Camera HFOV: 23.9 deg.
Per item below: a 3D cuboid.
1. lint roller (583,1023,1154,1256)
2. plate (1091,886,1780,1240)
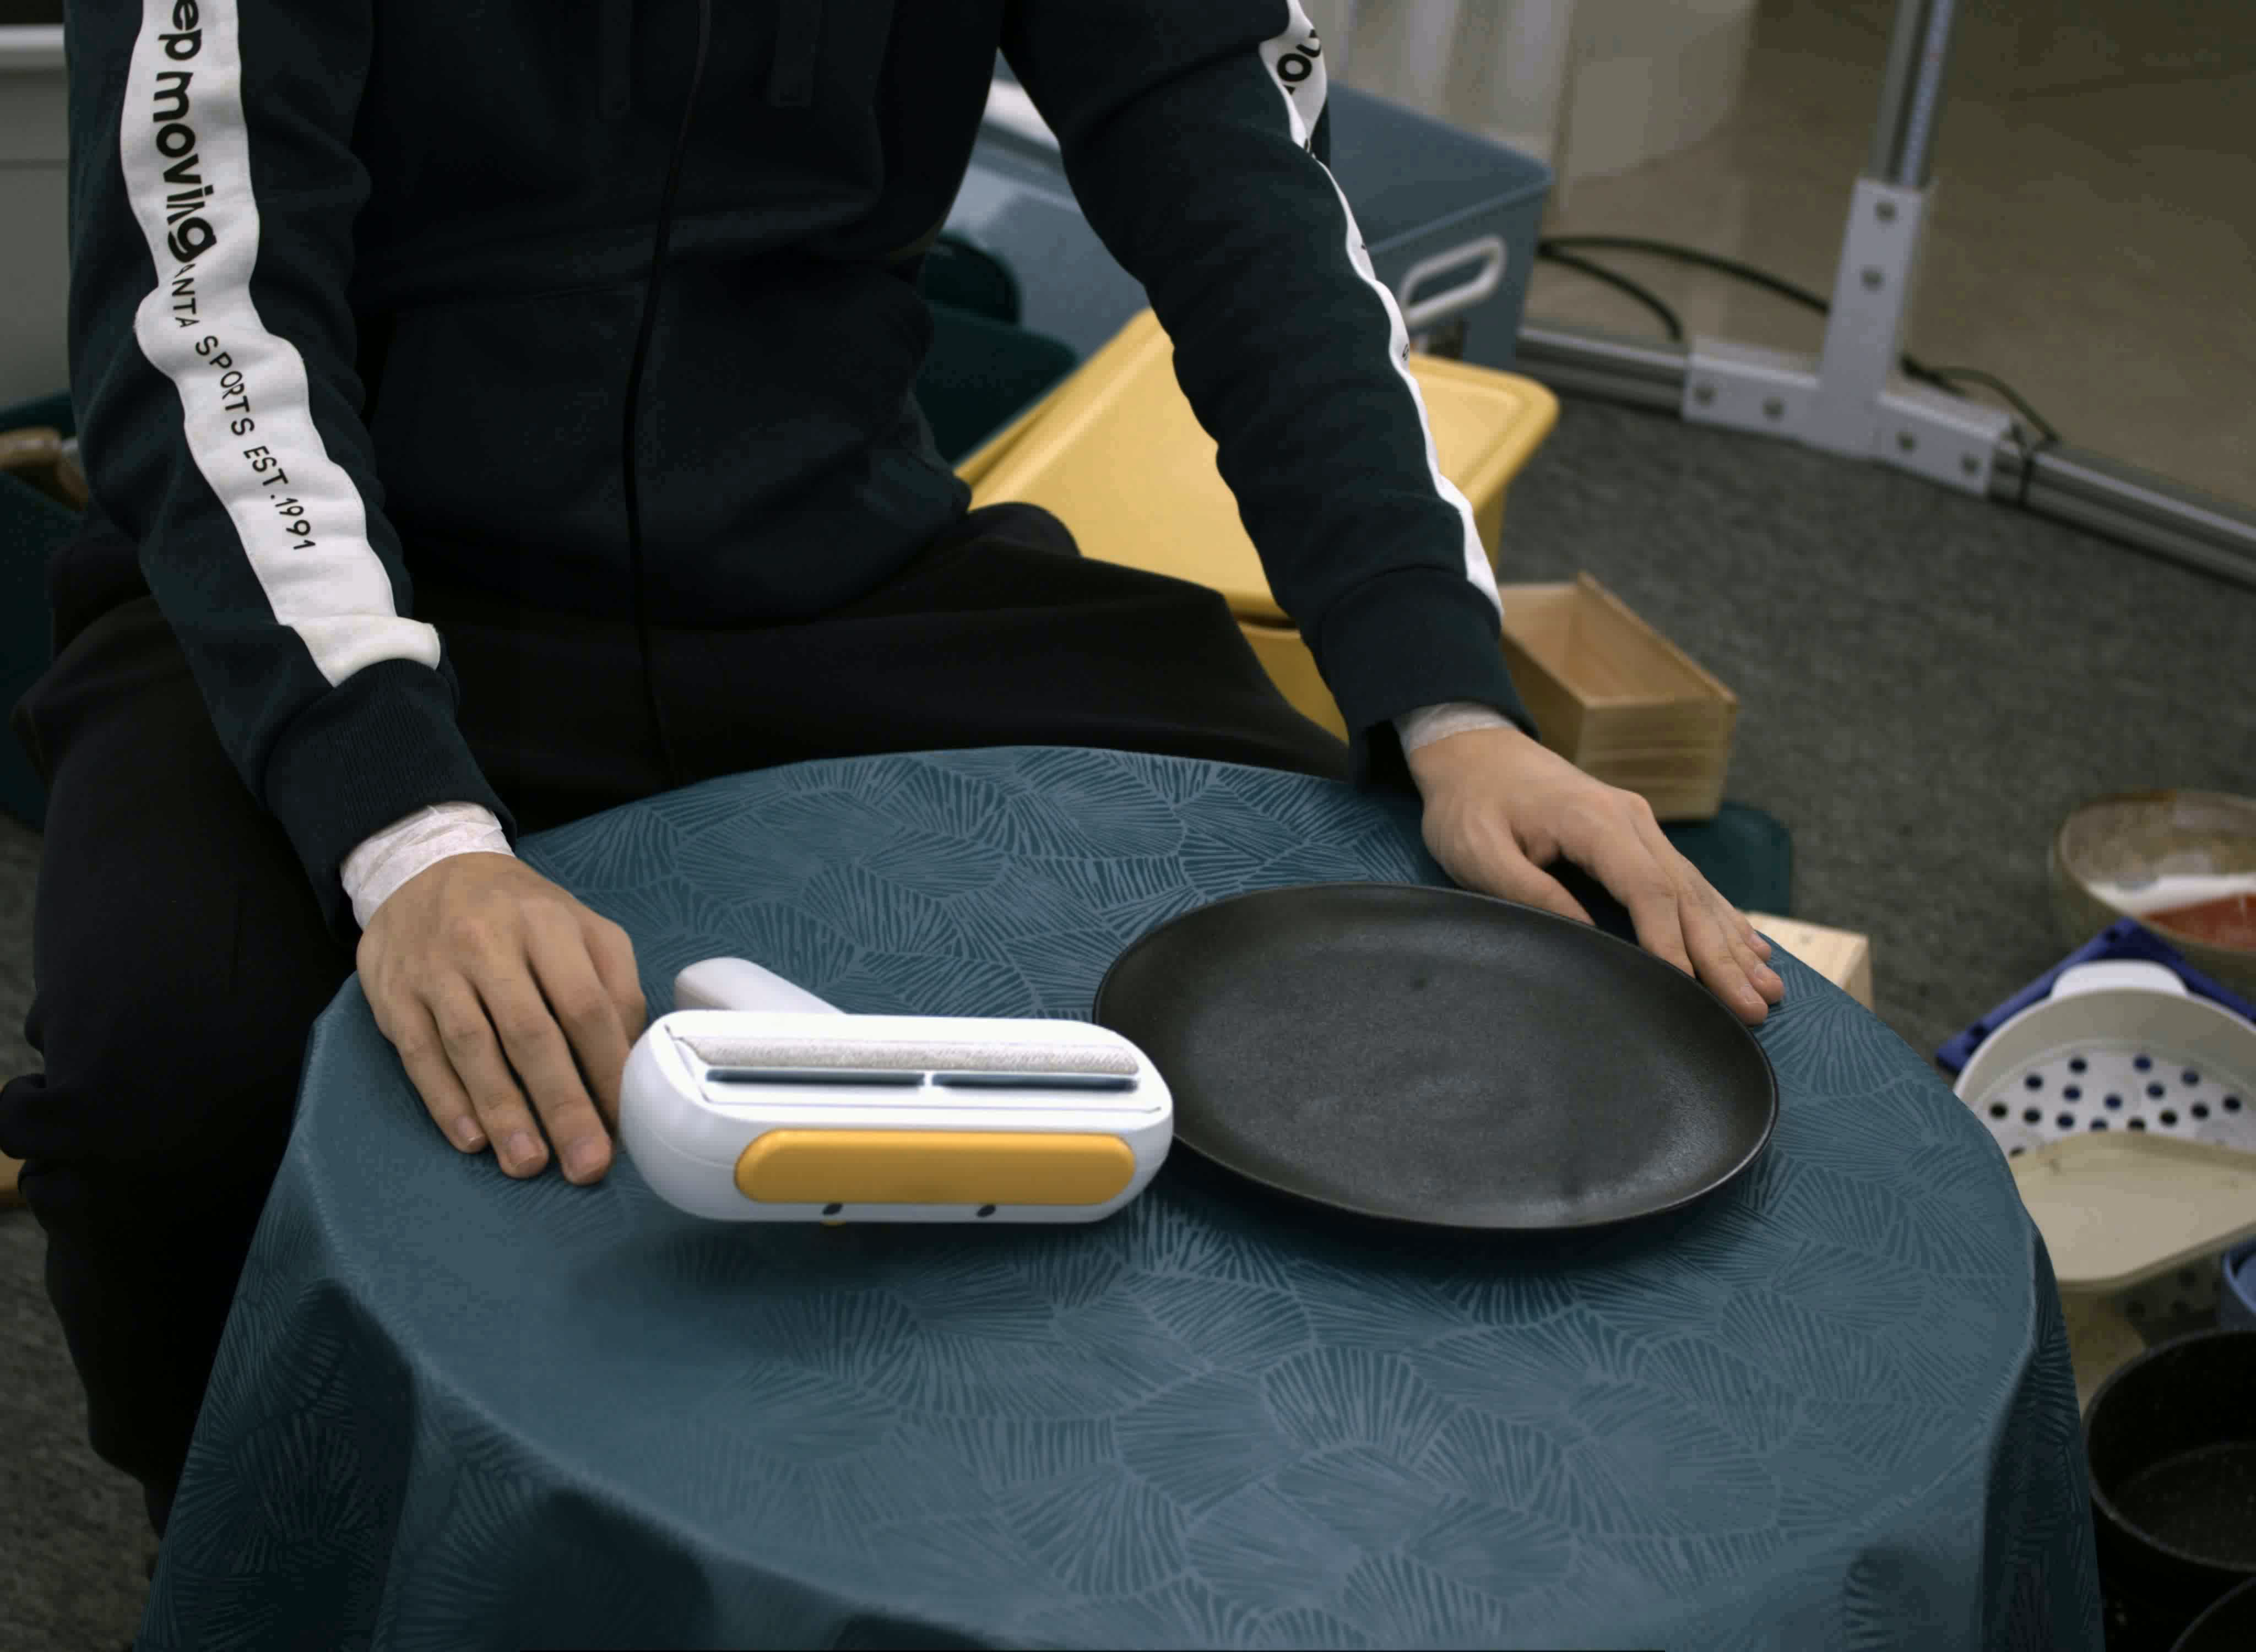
[{"bbox_3d":[-0.106,0.095,1.797,0.191,0.074,0.194,2,11,-23],"label":"lint roller"},{"bbox_3d":[0.107,0.087,1.869,0.243,0.023,0.246,5,27,-3],"label":"plate"}]
